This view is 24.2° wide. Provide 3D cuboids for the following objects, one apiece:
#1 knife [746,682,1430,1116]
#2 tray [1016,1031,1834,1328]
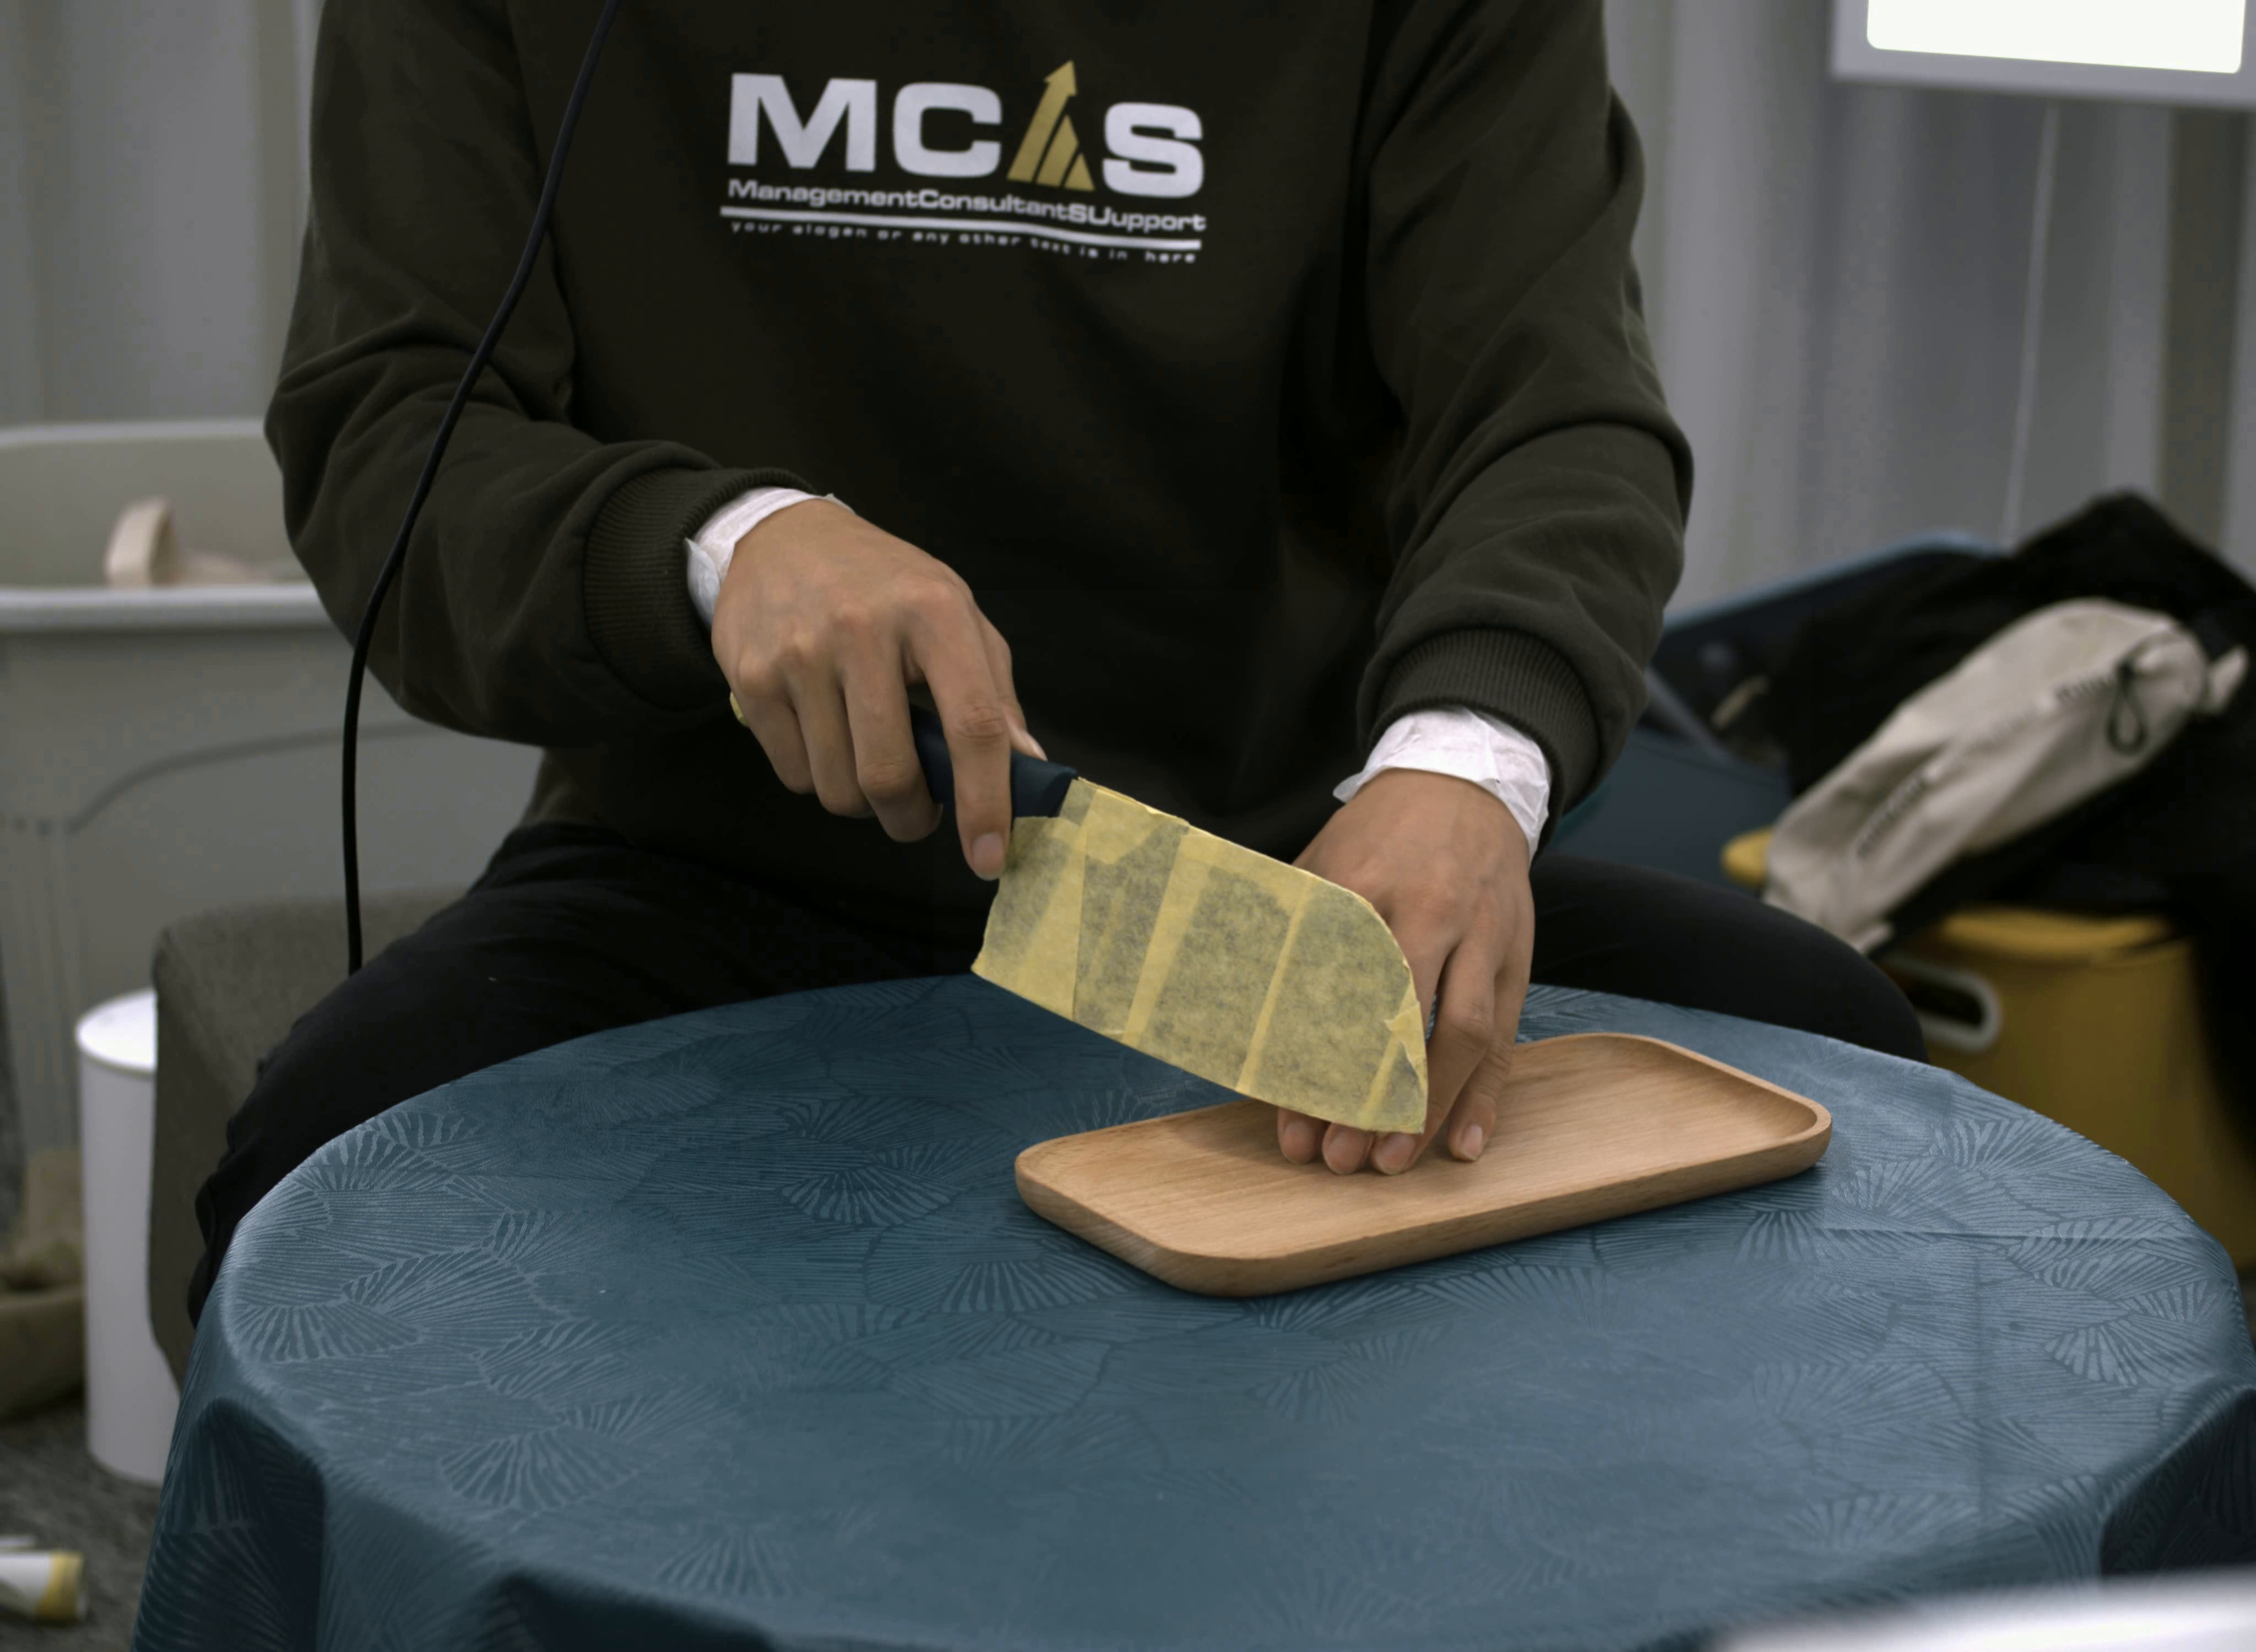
[{"bbox_3d":[-0.017,0.020,1.665,0.285,0.081,0.027,26,8,32],"label":"knife"},{"bbox_3d":[0.094,0.108,1.632,0.252,0.023,0.129,-13,17,-31],"label":"tray"}]
